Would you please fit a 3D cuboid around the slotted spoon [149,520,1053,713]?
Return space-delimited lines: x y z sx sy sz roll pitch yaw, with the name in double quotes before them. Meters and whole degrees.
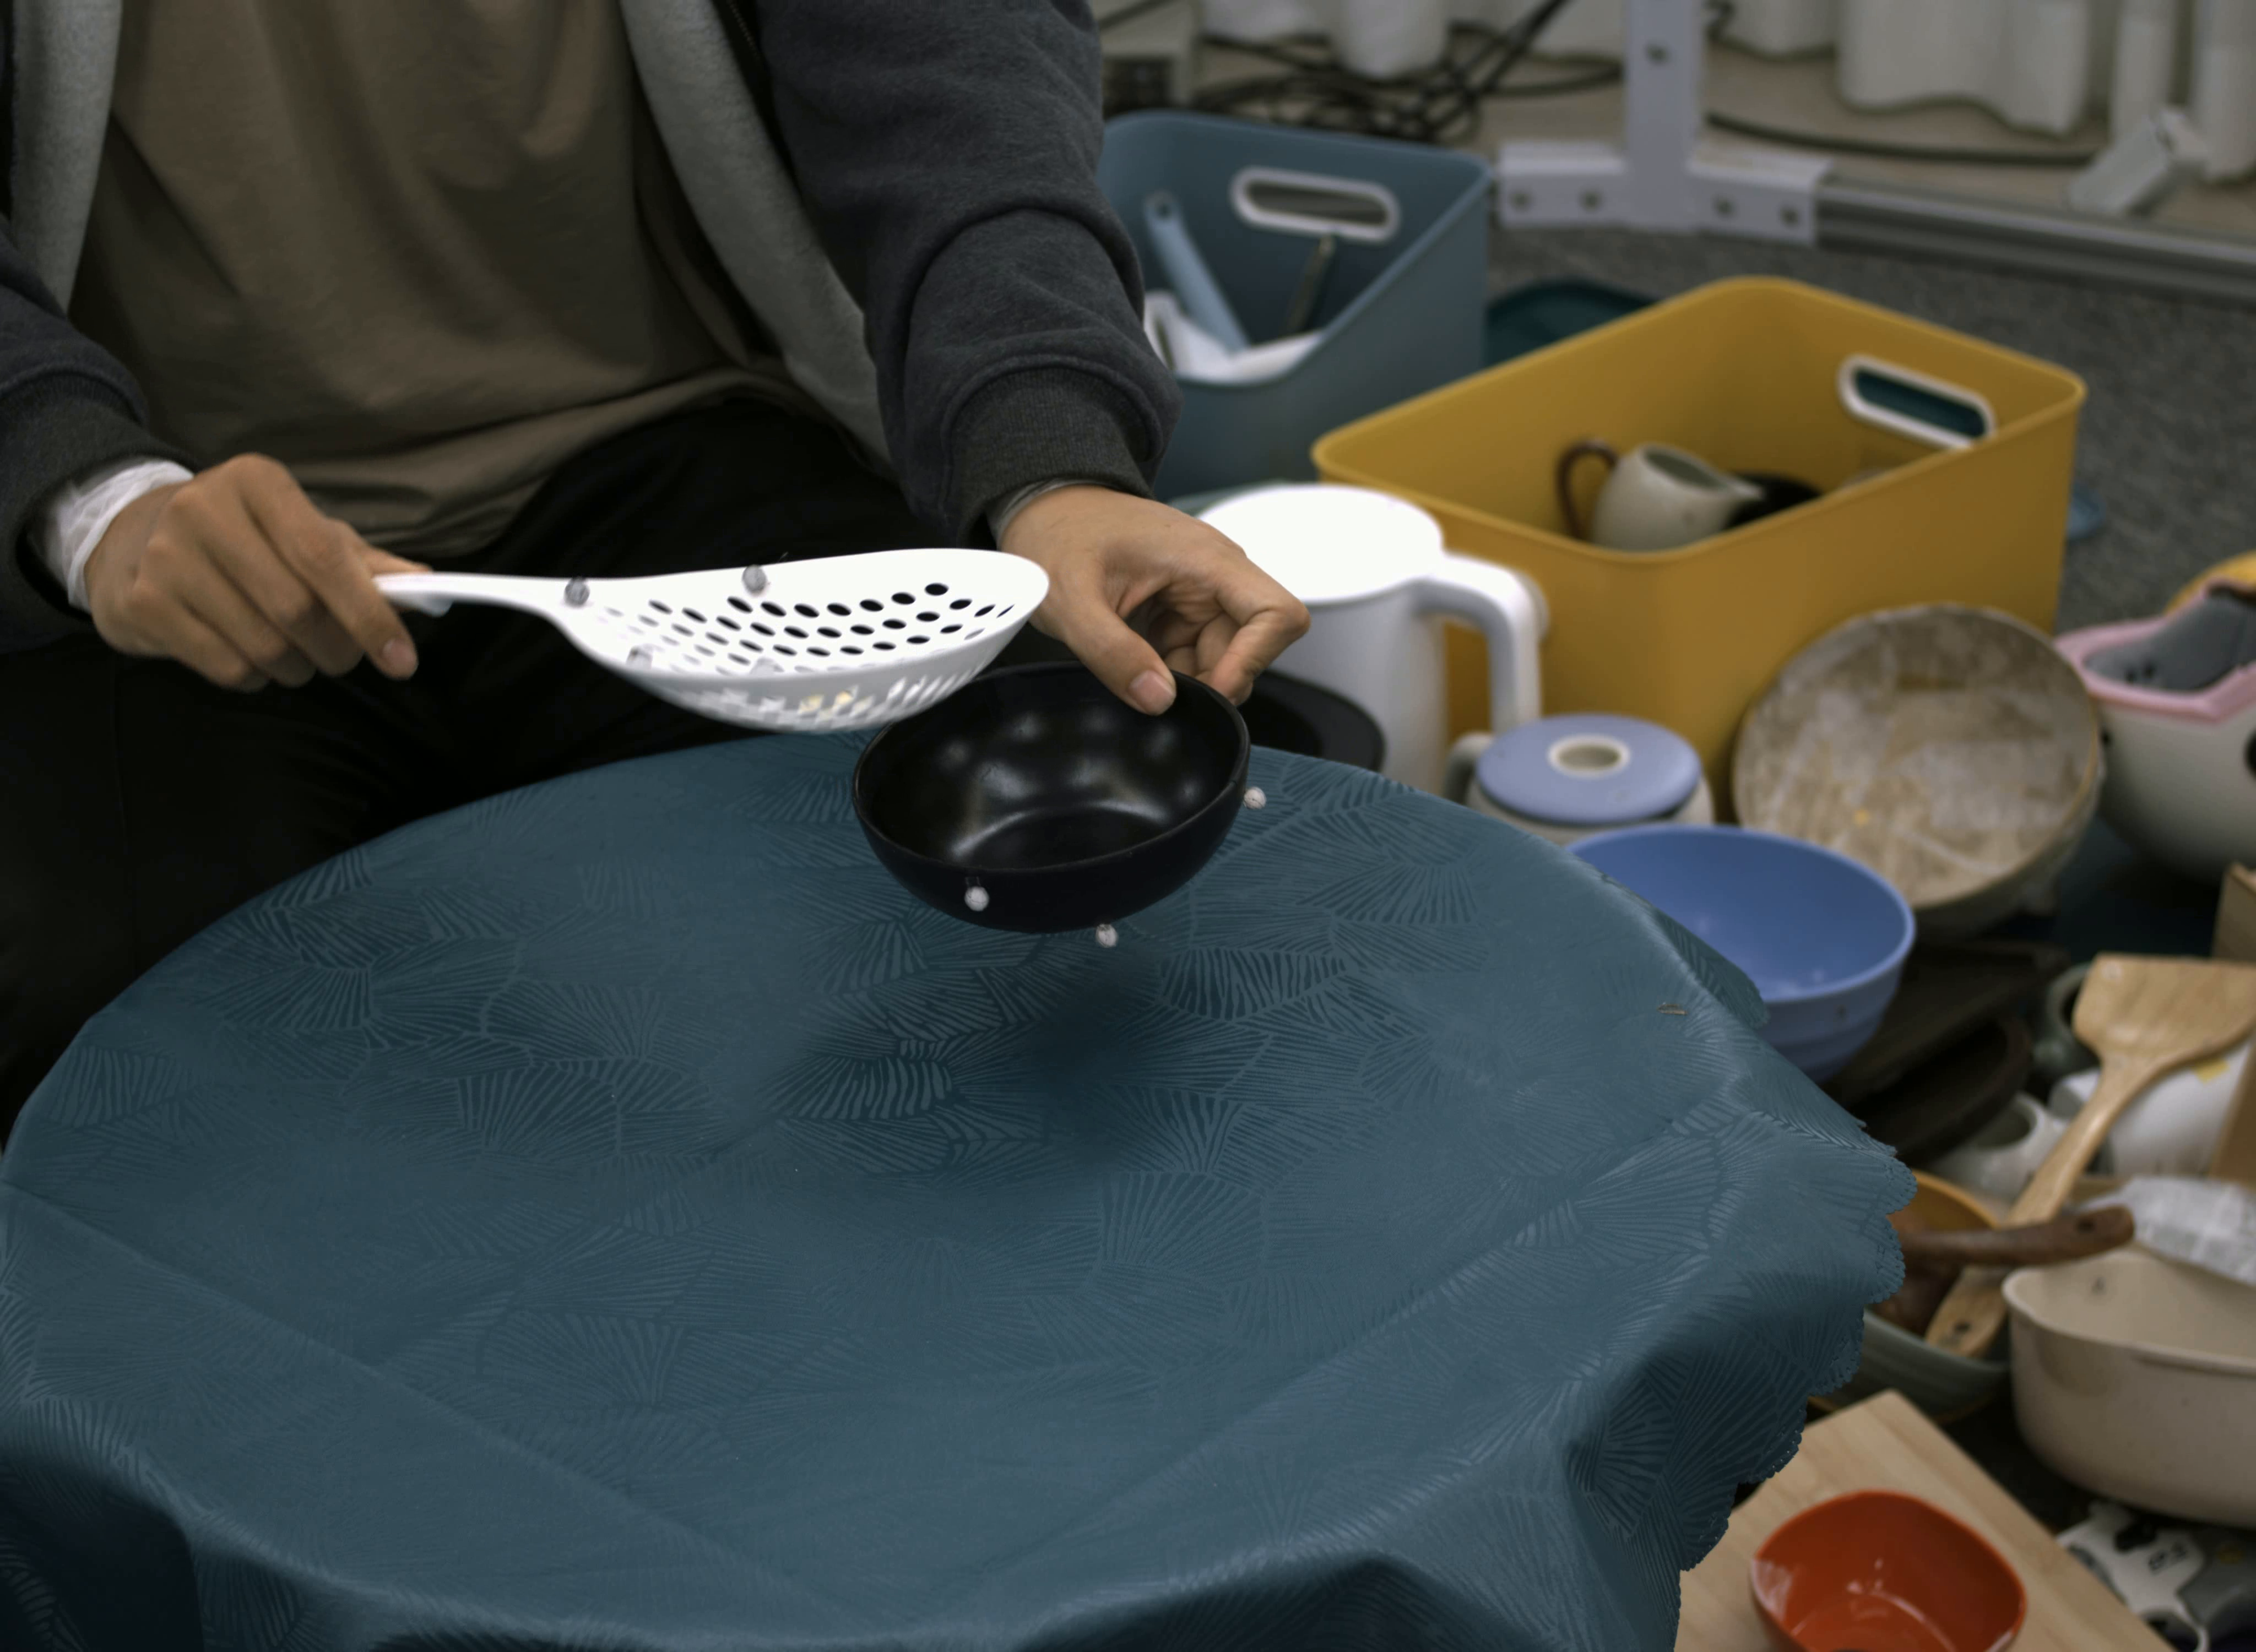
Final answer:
"slotted spoon" -0.185 -0.069 1.871 0.345 0.050 0.139 6 21 29
